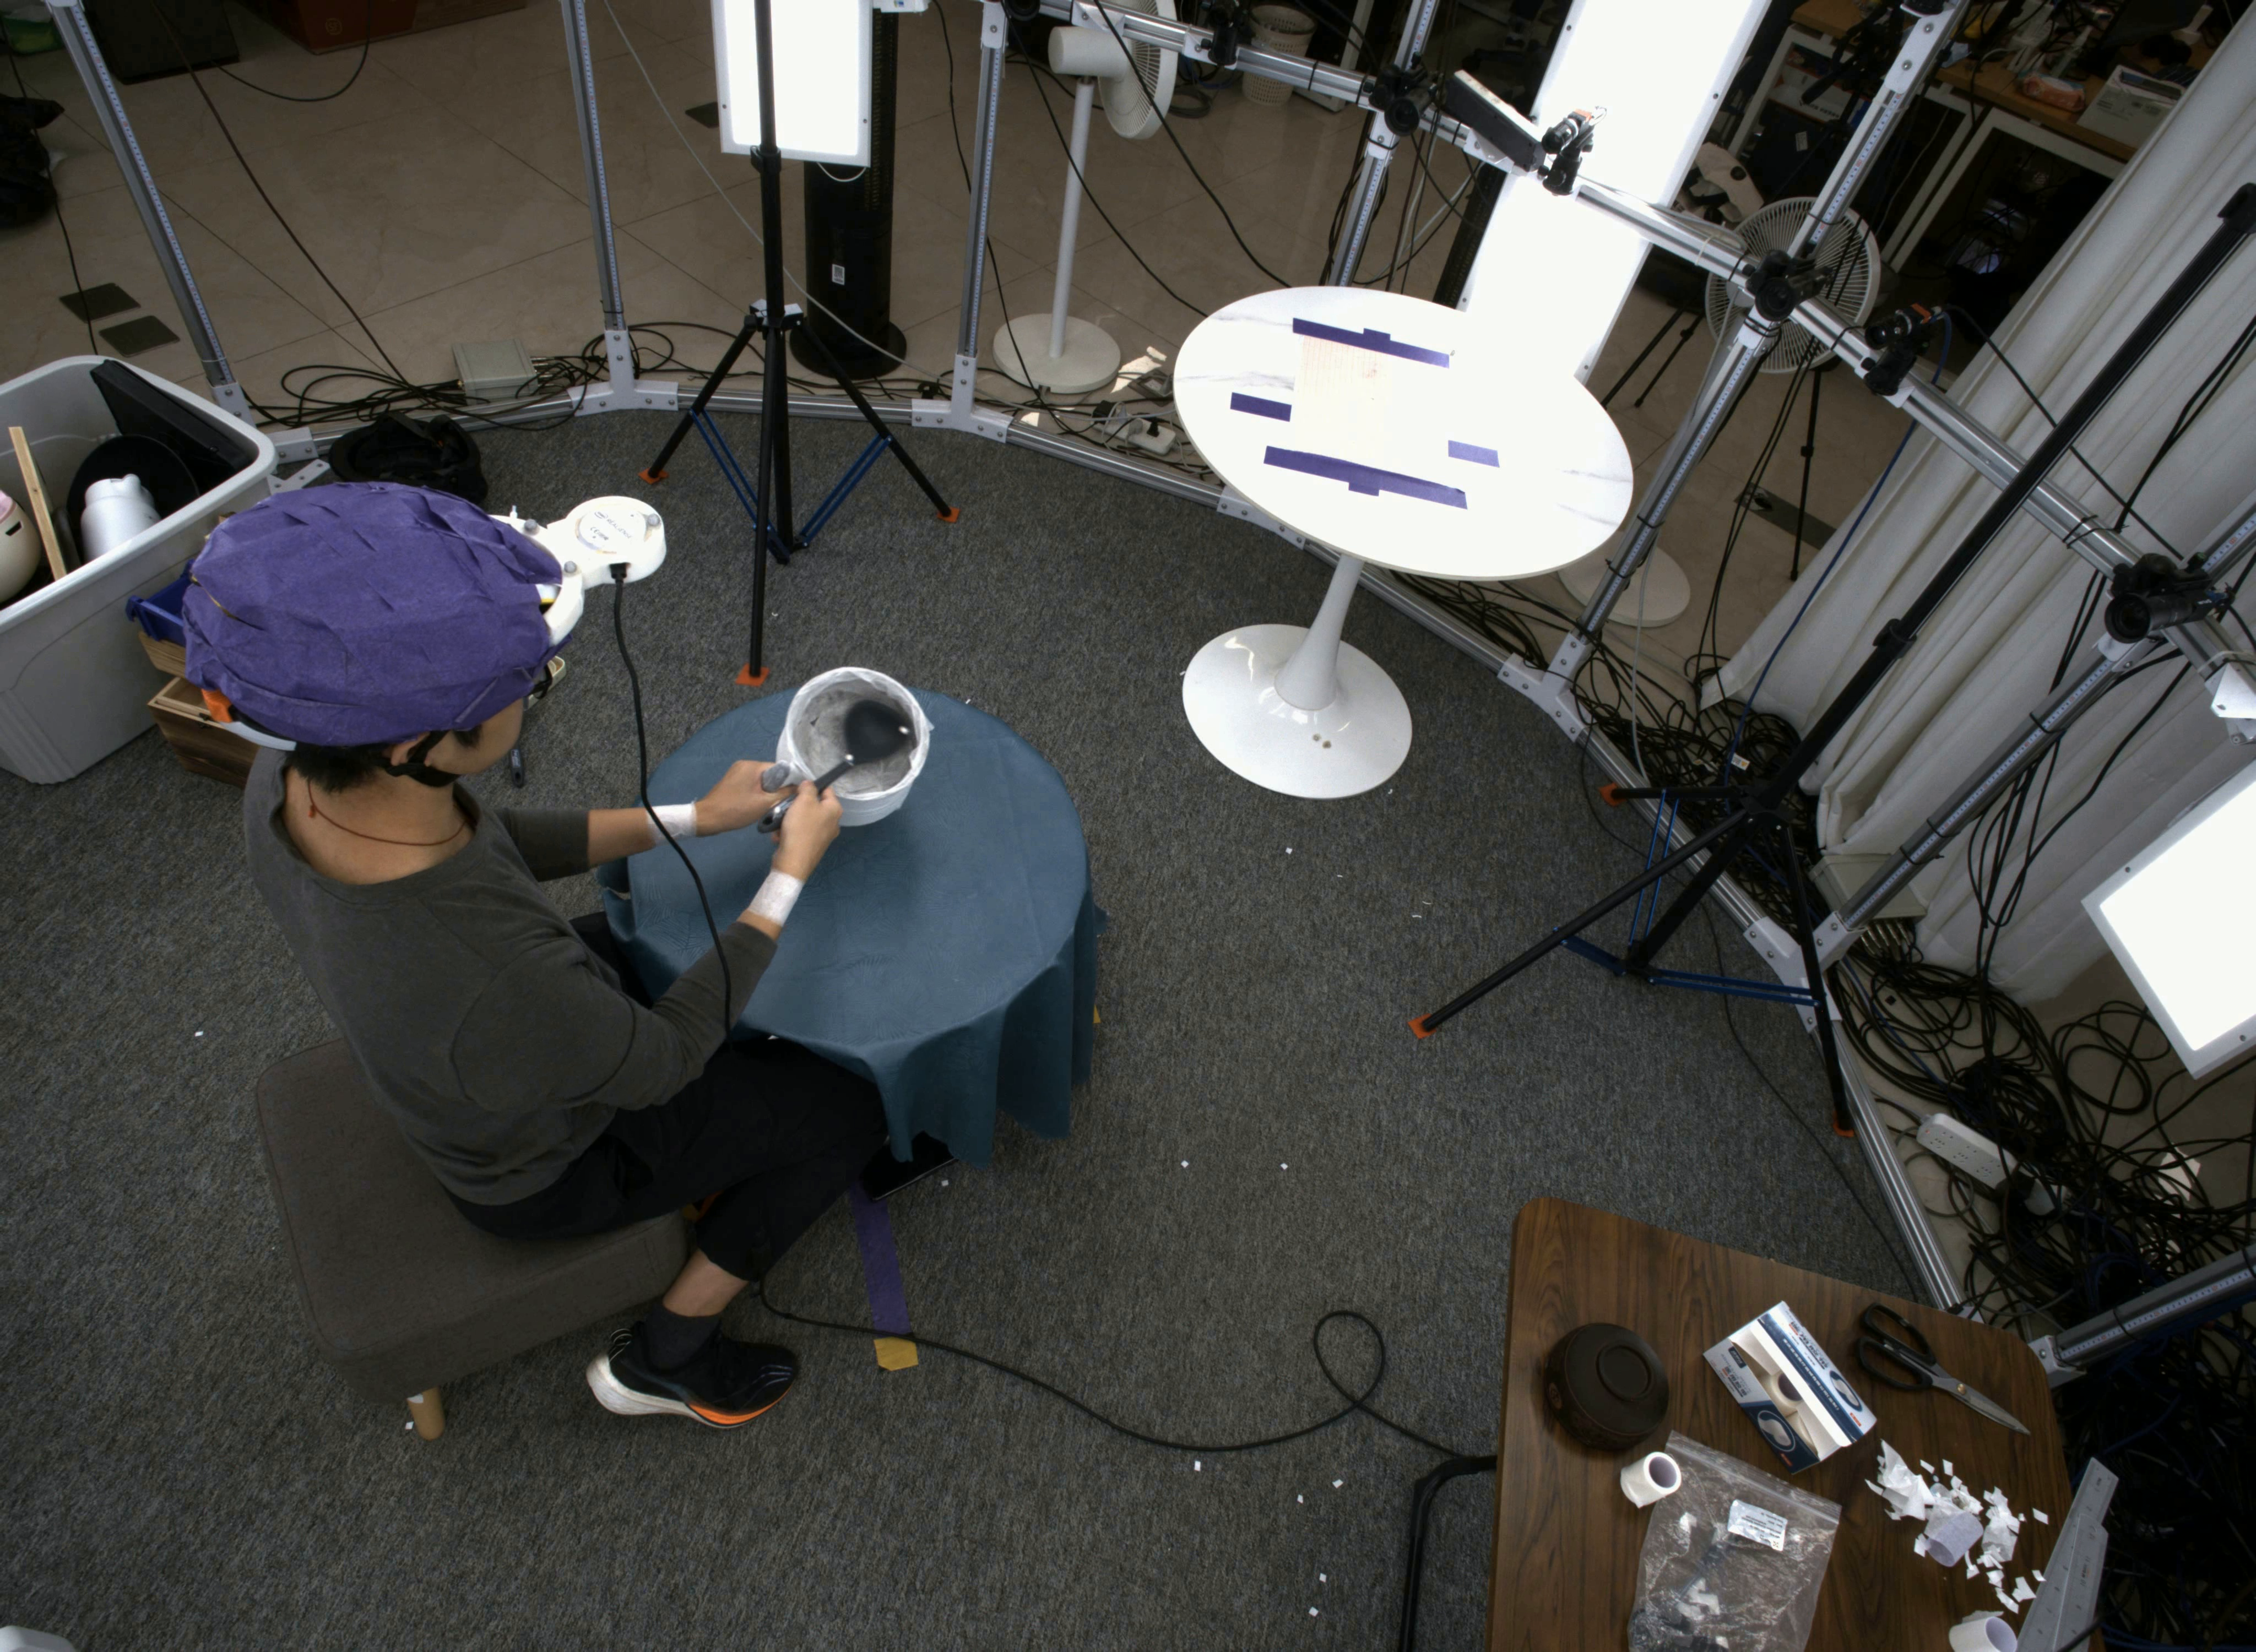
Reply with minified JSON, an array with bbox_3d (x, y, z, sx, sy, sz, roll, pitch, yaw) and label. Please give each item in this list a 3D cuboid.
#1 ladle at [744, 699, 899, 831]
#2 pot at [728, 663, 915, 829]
[{"bbox_3d":[-0.367,-0.074,1.533,0.085,0.065,0.312,25,25,5],"label":"ladle"},{"bbox_3d":[-0.391,-0.083,1.632,0.234,0.136,0.179,-32,87,-28],"label":"pot"}]
